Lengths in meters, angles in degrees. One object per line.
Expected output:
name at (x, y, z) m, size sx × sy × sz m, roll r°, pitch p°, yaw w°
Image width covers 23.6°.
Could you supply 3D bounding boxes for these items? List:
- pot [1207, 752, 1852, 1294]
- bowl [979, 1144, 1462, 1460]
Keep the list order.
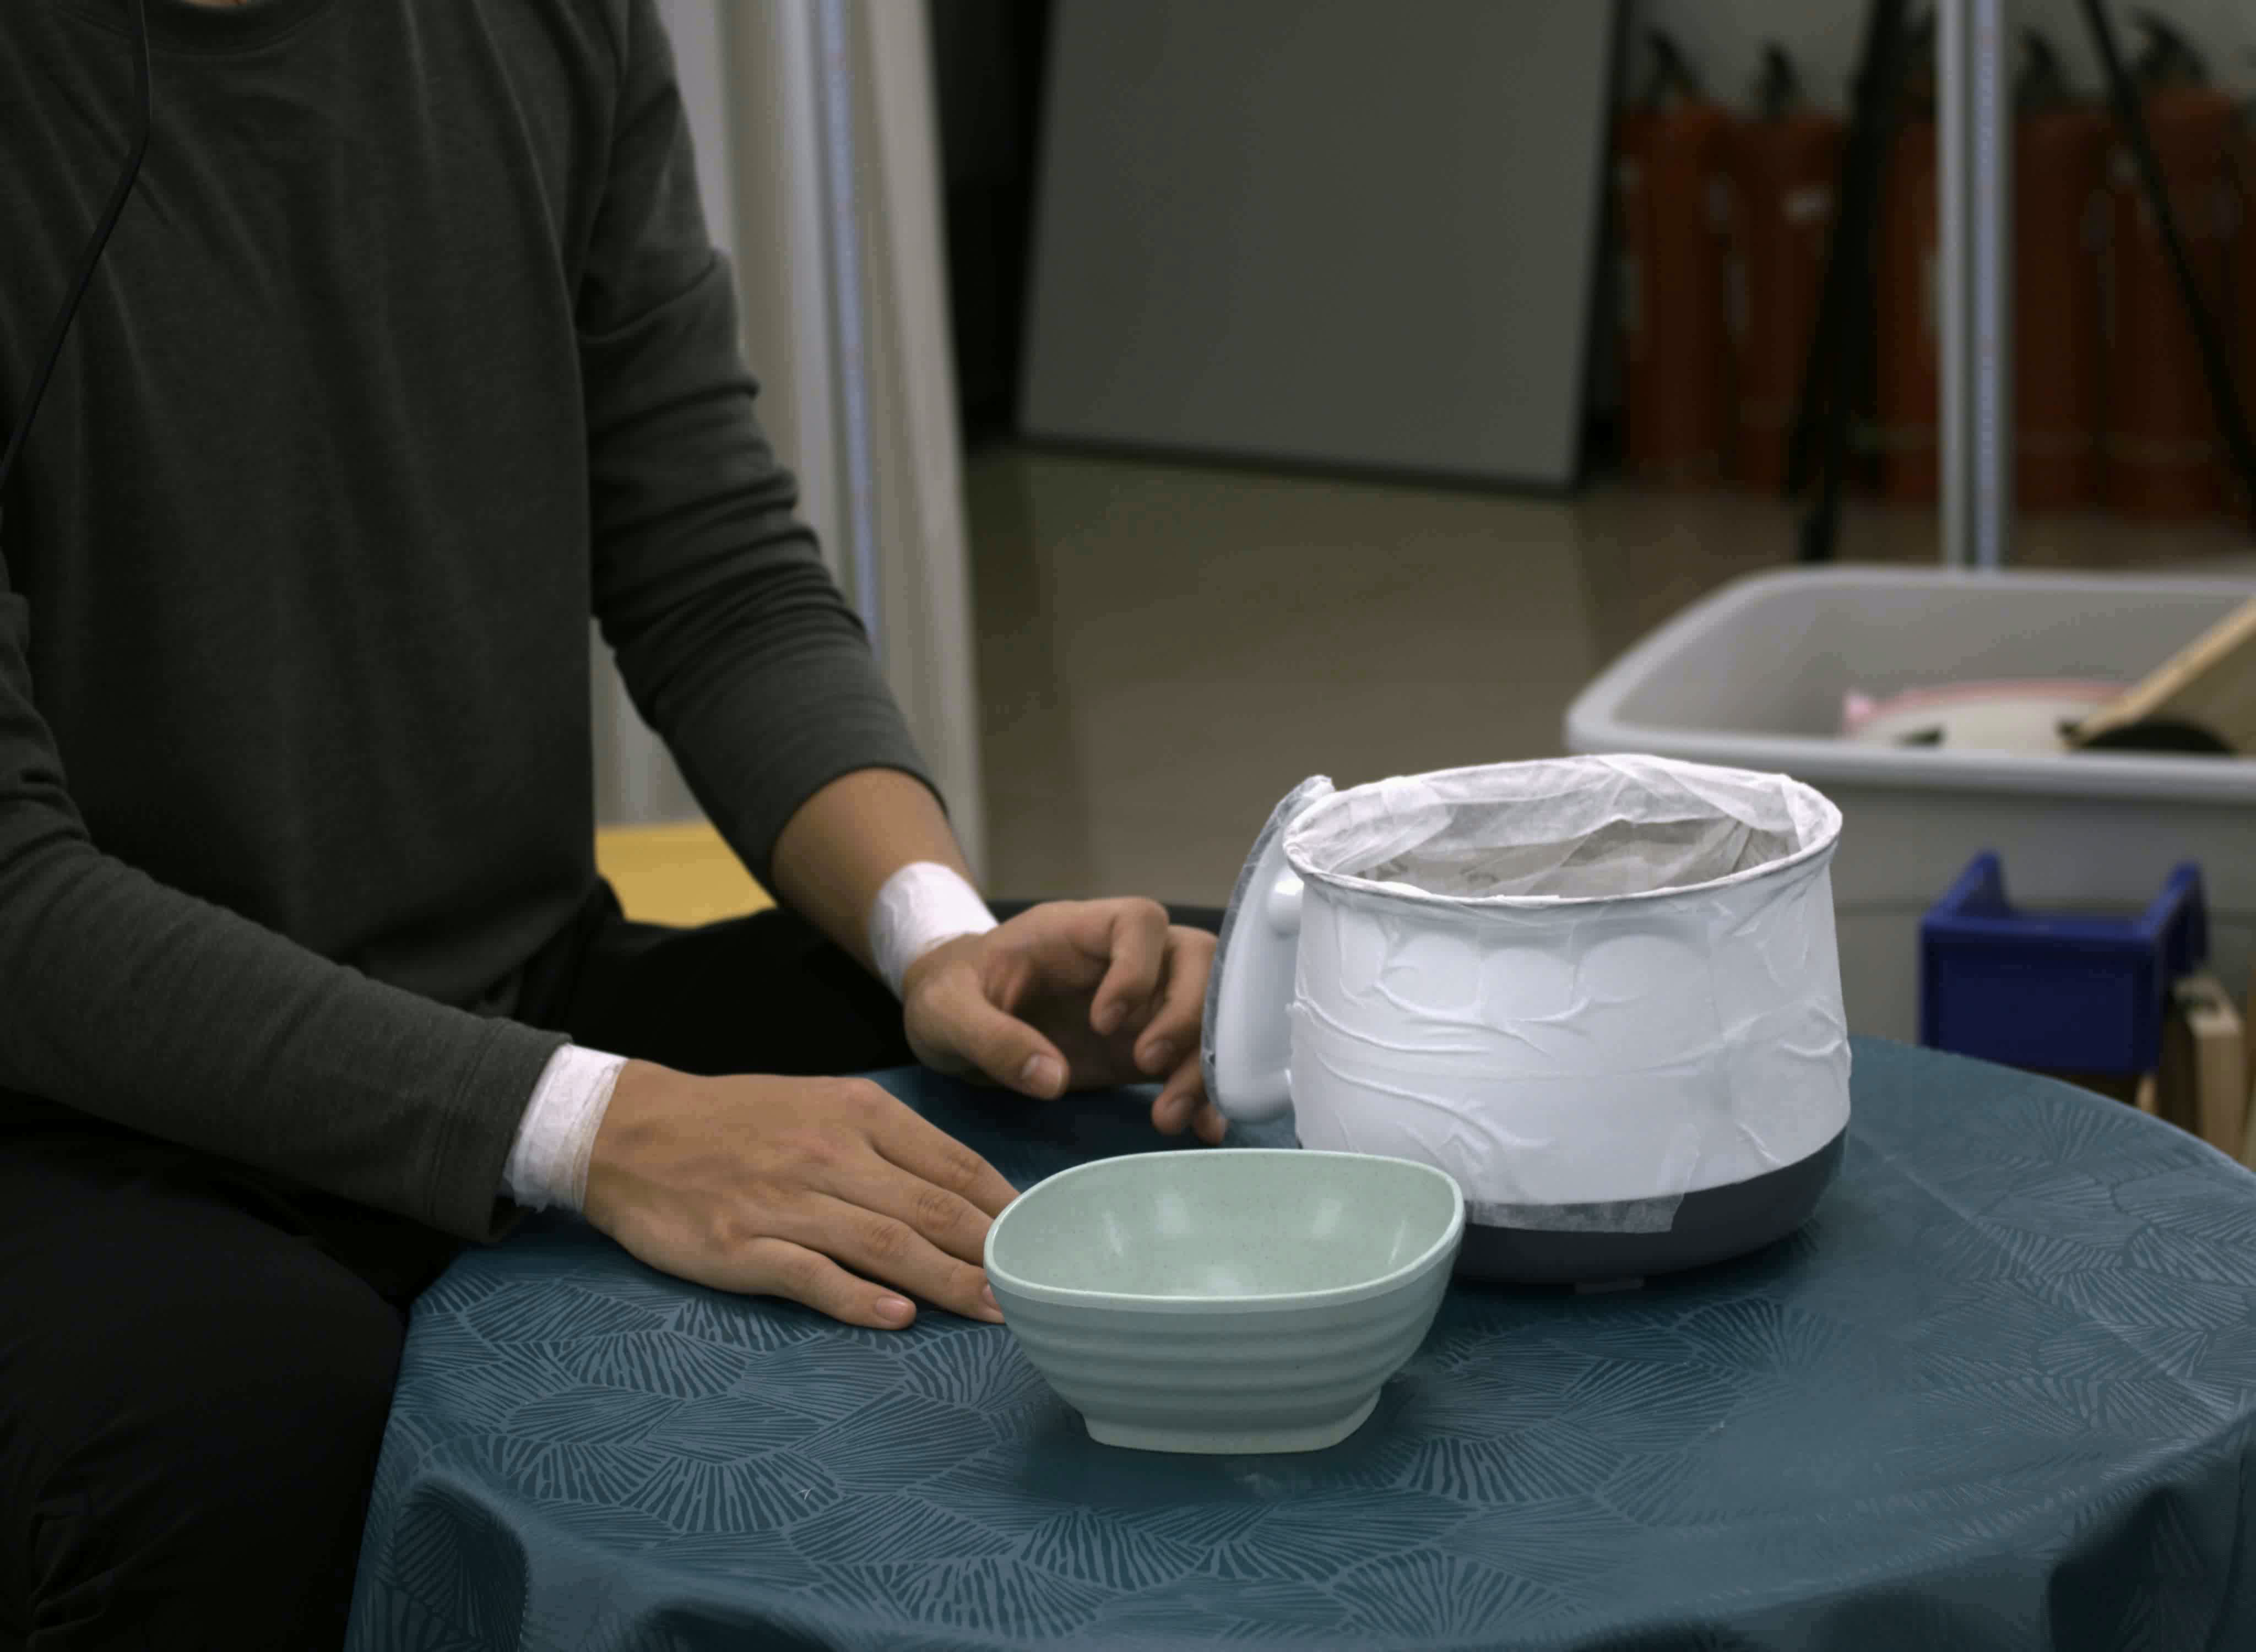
pot at (0.118, 0.058, 1.712) m, size 0.235 × 0.138 × 0.175 m, roll 7°, pitch 17°, yaw 40°
bowl at (0.028, 0.141, 1.563) m, size 0.149 × 0.059 × 0.152 m, roll -3°, pitch 14°, yaw 0°
